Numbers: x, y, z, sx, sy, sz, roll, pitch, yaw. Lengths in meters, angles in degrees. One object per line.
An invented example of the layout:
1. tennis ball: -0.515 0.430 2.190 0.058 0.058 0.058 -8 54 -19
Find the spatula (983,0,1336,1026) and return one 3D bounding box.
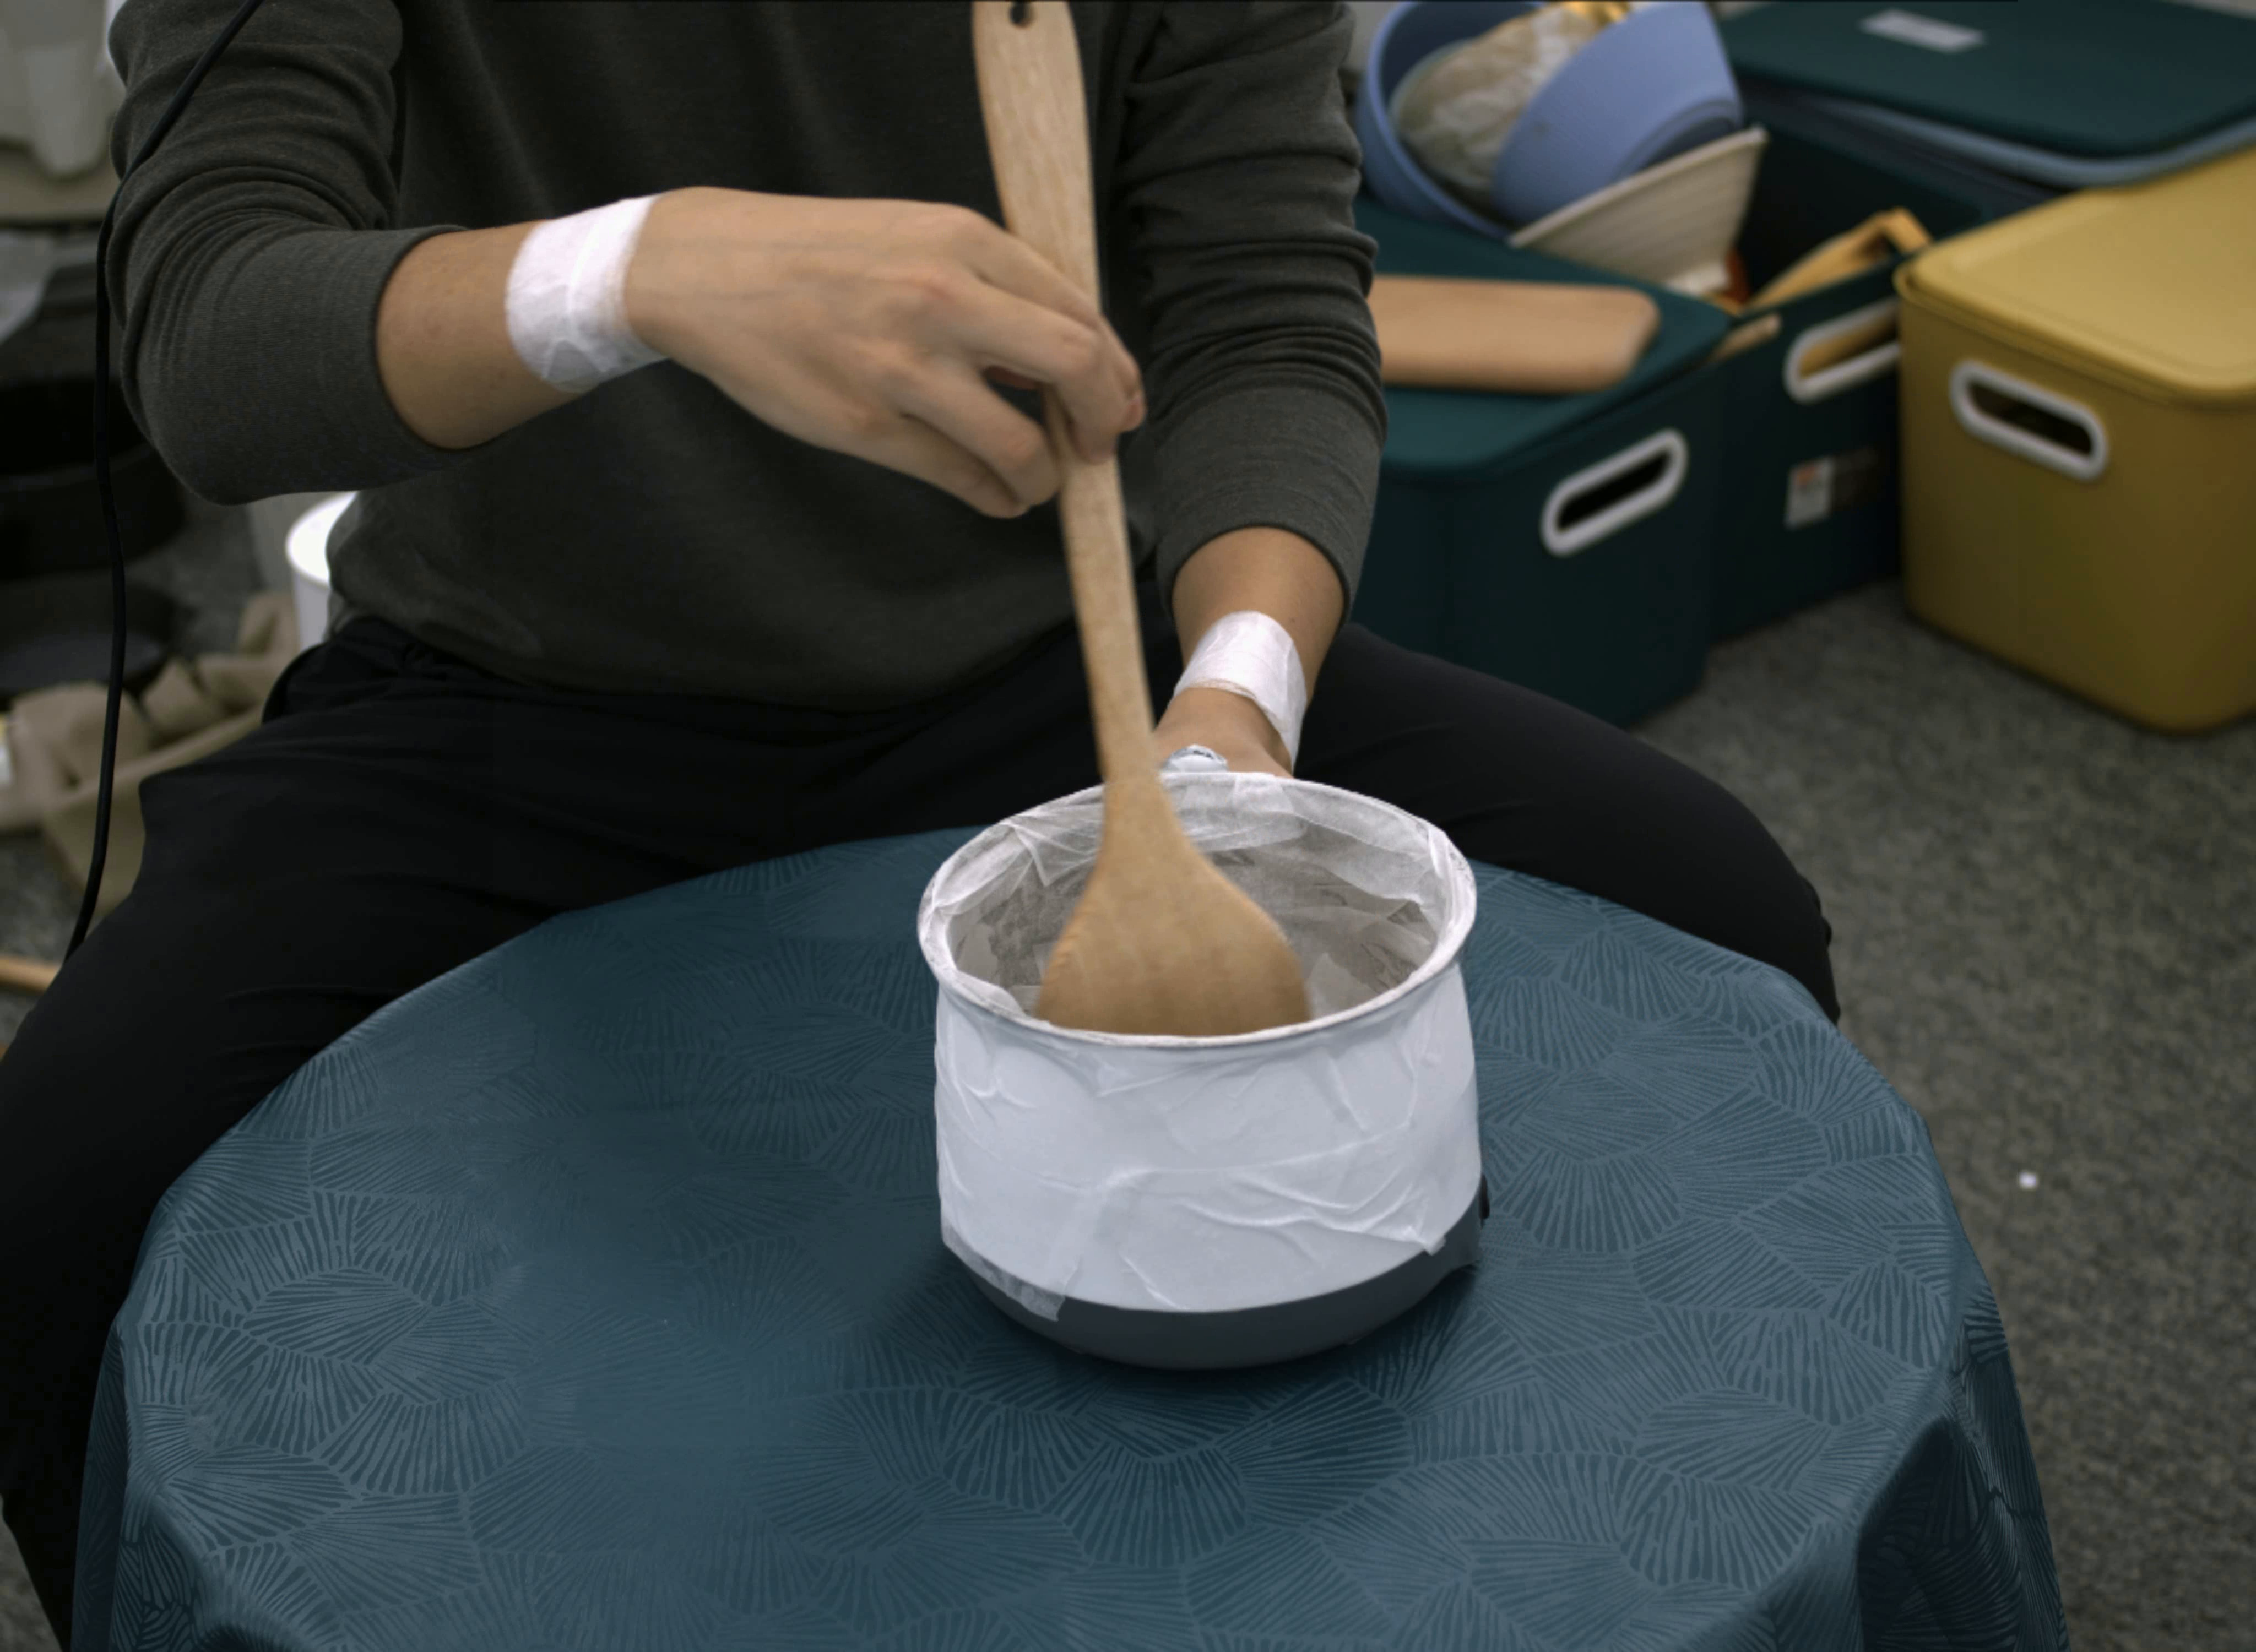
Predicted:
1. spatula: 0.001 -0.081 1.736 0.096 0.389 0.018 -13 14 -19

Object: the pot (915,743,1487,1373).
1. pot: 0.024 0.067 1.818 0.178 0.135 0.237 -3 27 0
